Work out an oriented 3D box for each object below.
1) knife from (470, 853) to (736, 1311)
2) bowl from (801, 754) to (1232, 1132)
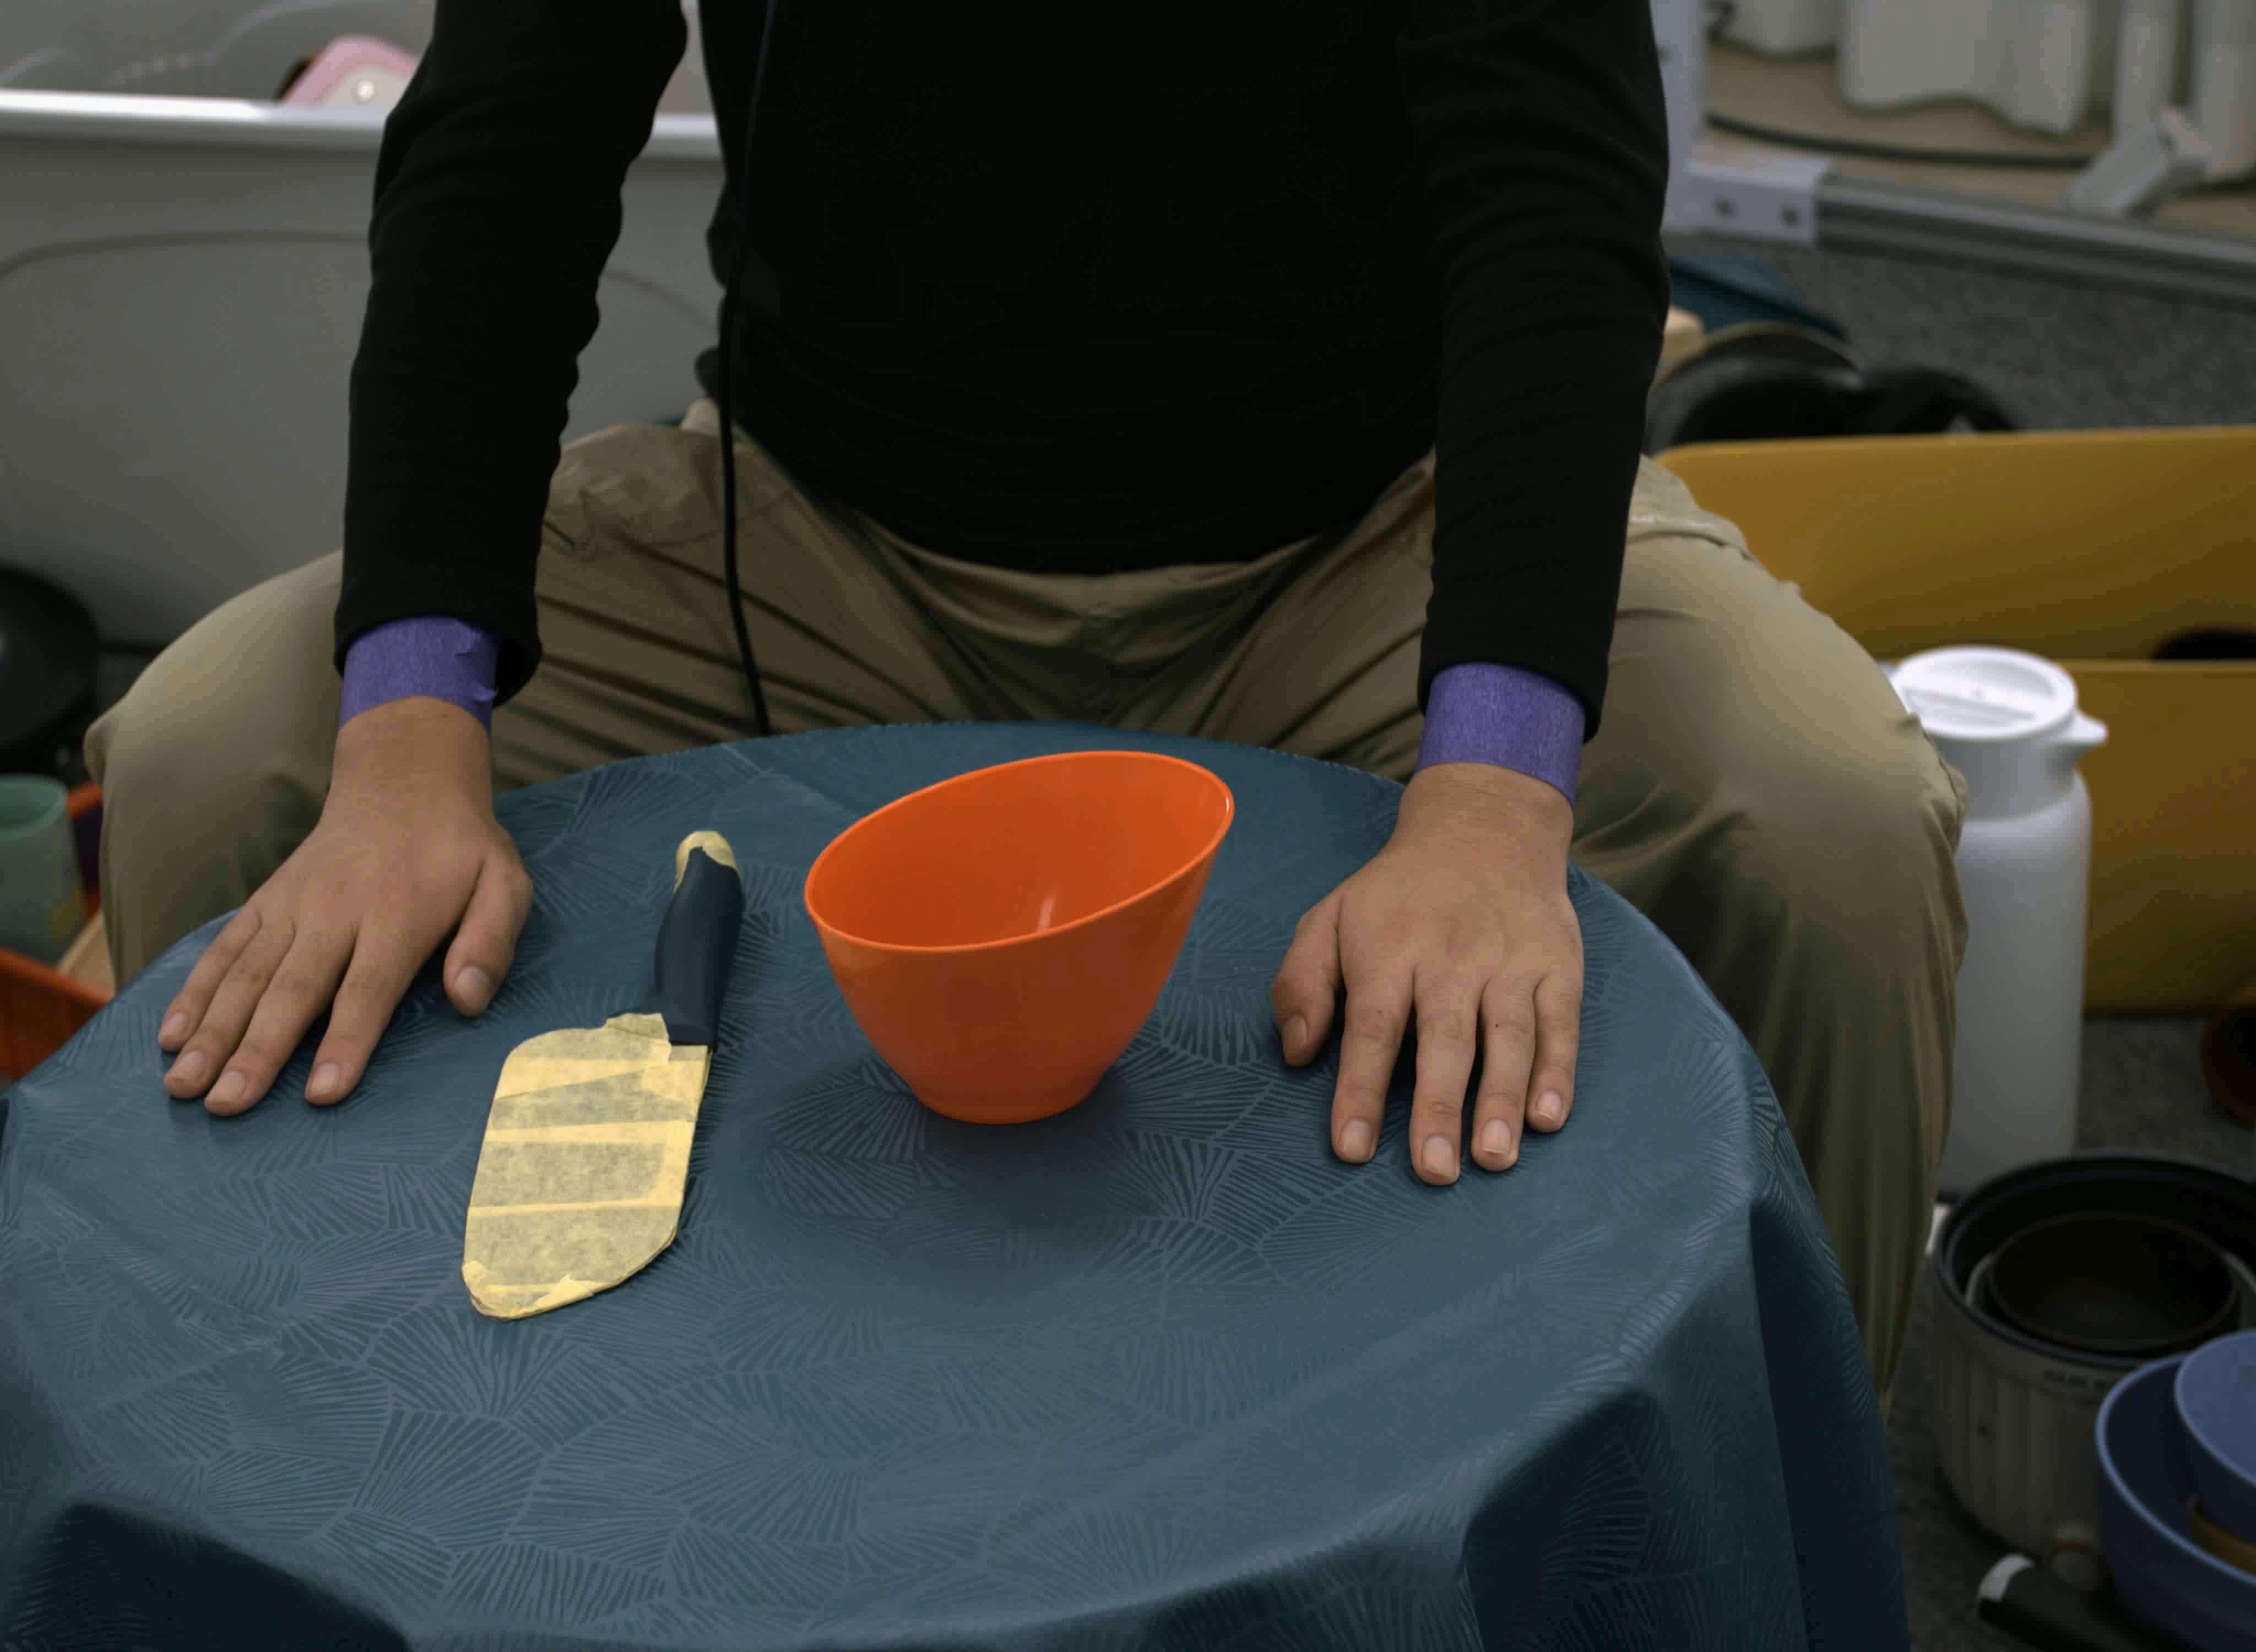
[{"bbox_3d":[-0.178,0.086,1.929,0.080,0.027,0.294,1,28,5],"label":"knife"},{"bbox_3d":[-0.035,0.045,1.903,0.147,0.103,0.150,-3,27,2],"label":"bowl"}]
